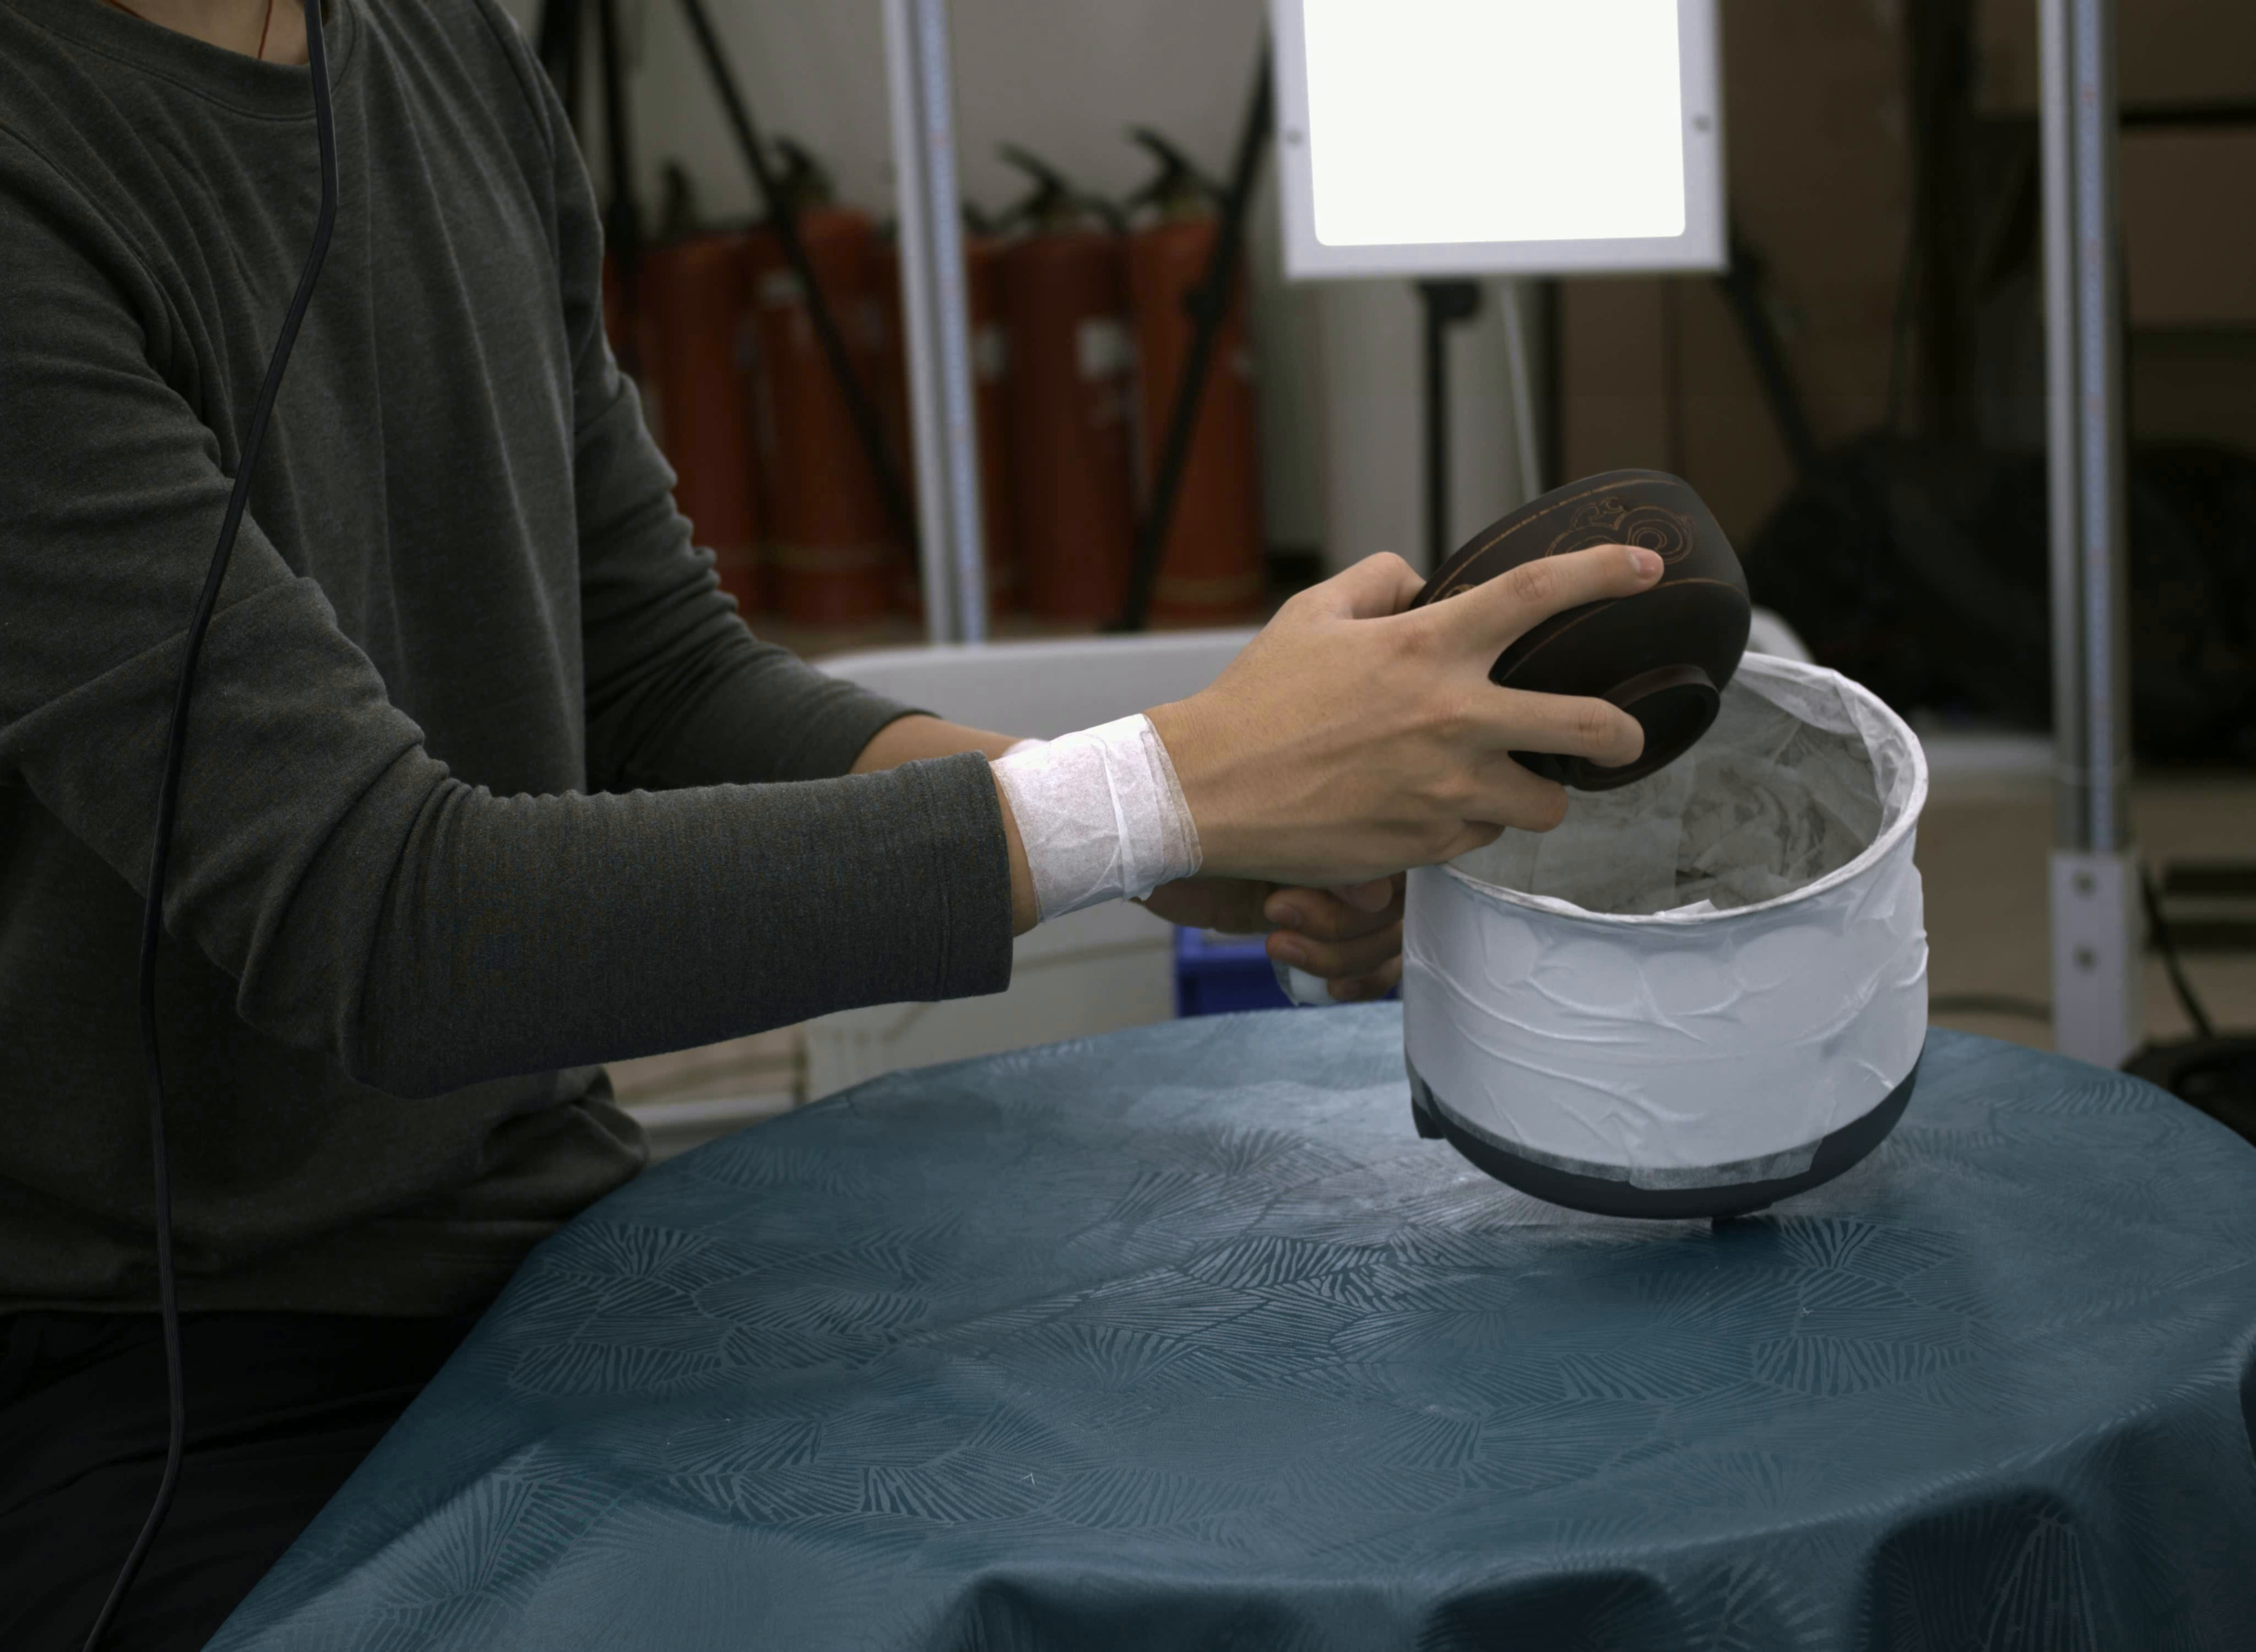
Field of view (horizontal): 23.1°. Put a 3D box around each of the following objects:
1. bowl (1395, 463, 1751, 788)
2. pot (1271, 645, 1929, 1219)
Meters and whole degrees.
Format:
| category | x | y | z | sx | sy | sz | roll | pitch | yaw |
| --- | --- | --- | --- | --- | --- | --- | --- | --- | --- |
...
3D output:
| category | x | y | z | sx | sy | sz | roll | pitch | yaw |
| --- | --- | --- | --- | --- | --- | --- | --- | --- | --- |
| bowl | 0.155 | -0.057 | 1.809 | 0.115 | 0.120 | 0.070 | -12 | 59 | -30 |
| pot | 0.155 | 0.031 | 1.851 | 0.237 | 0.137 | 0.175 | 12 | 35 | 26 |
